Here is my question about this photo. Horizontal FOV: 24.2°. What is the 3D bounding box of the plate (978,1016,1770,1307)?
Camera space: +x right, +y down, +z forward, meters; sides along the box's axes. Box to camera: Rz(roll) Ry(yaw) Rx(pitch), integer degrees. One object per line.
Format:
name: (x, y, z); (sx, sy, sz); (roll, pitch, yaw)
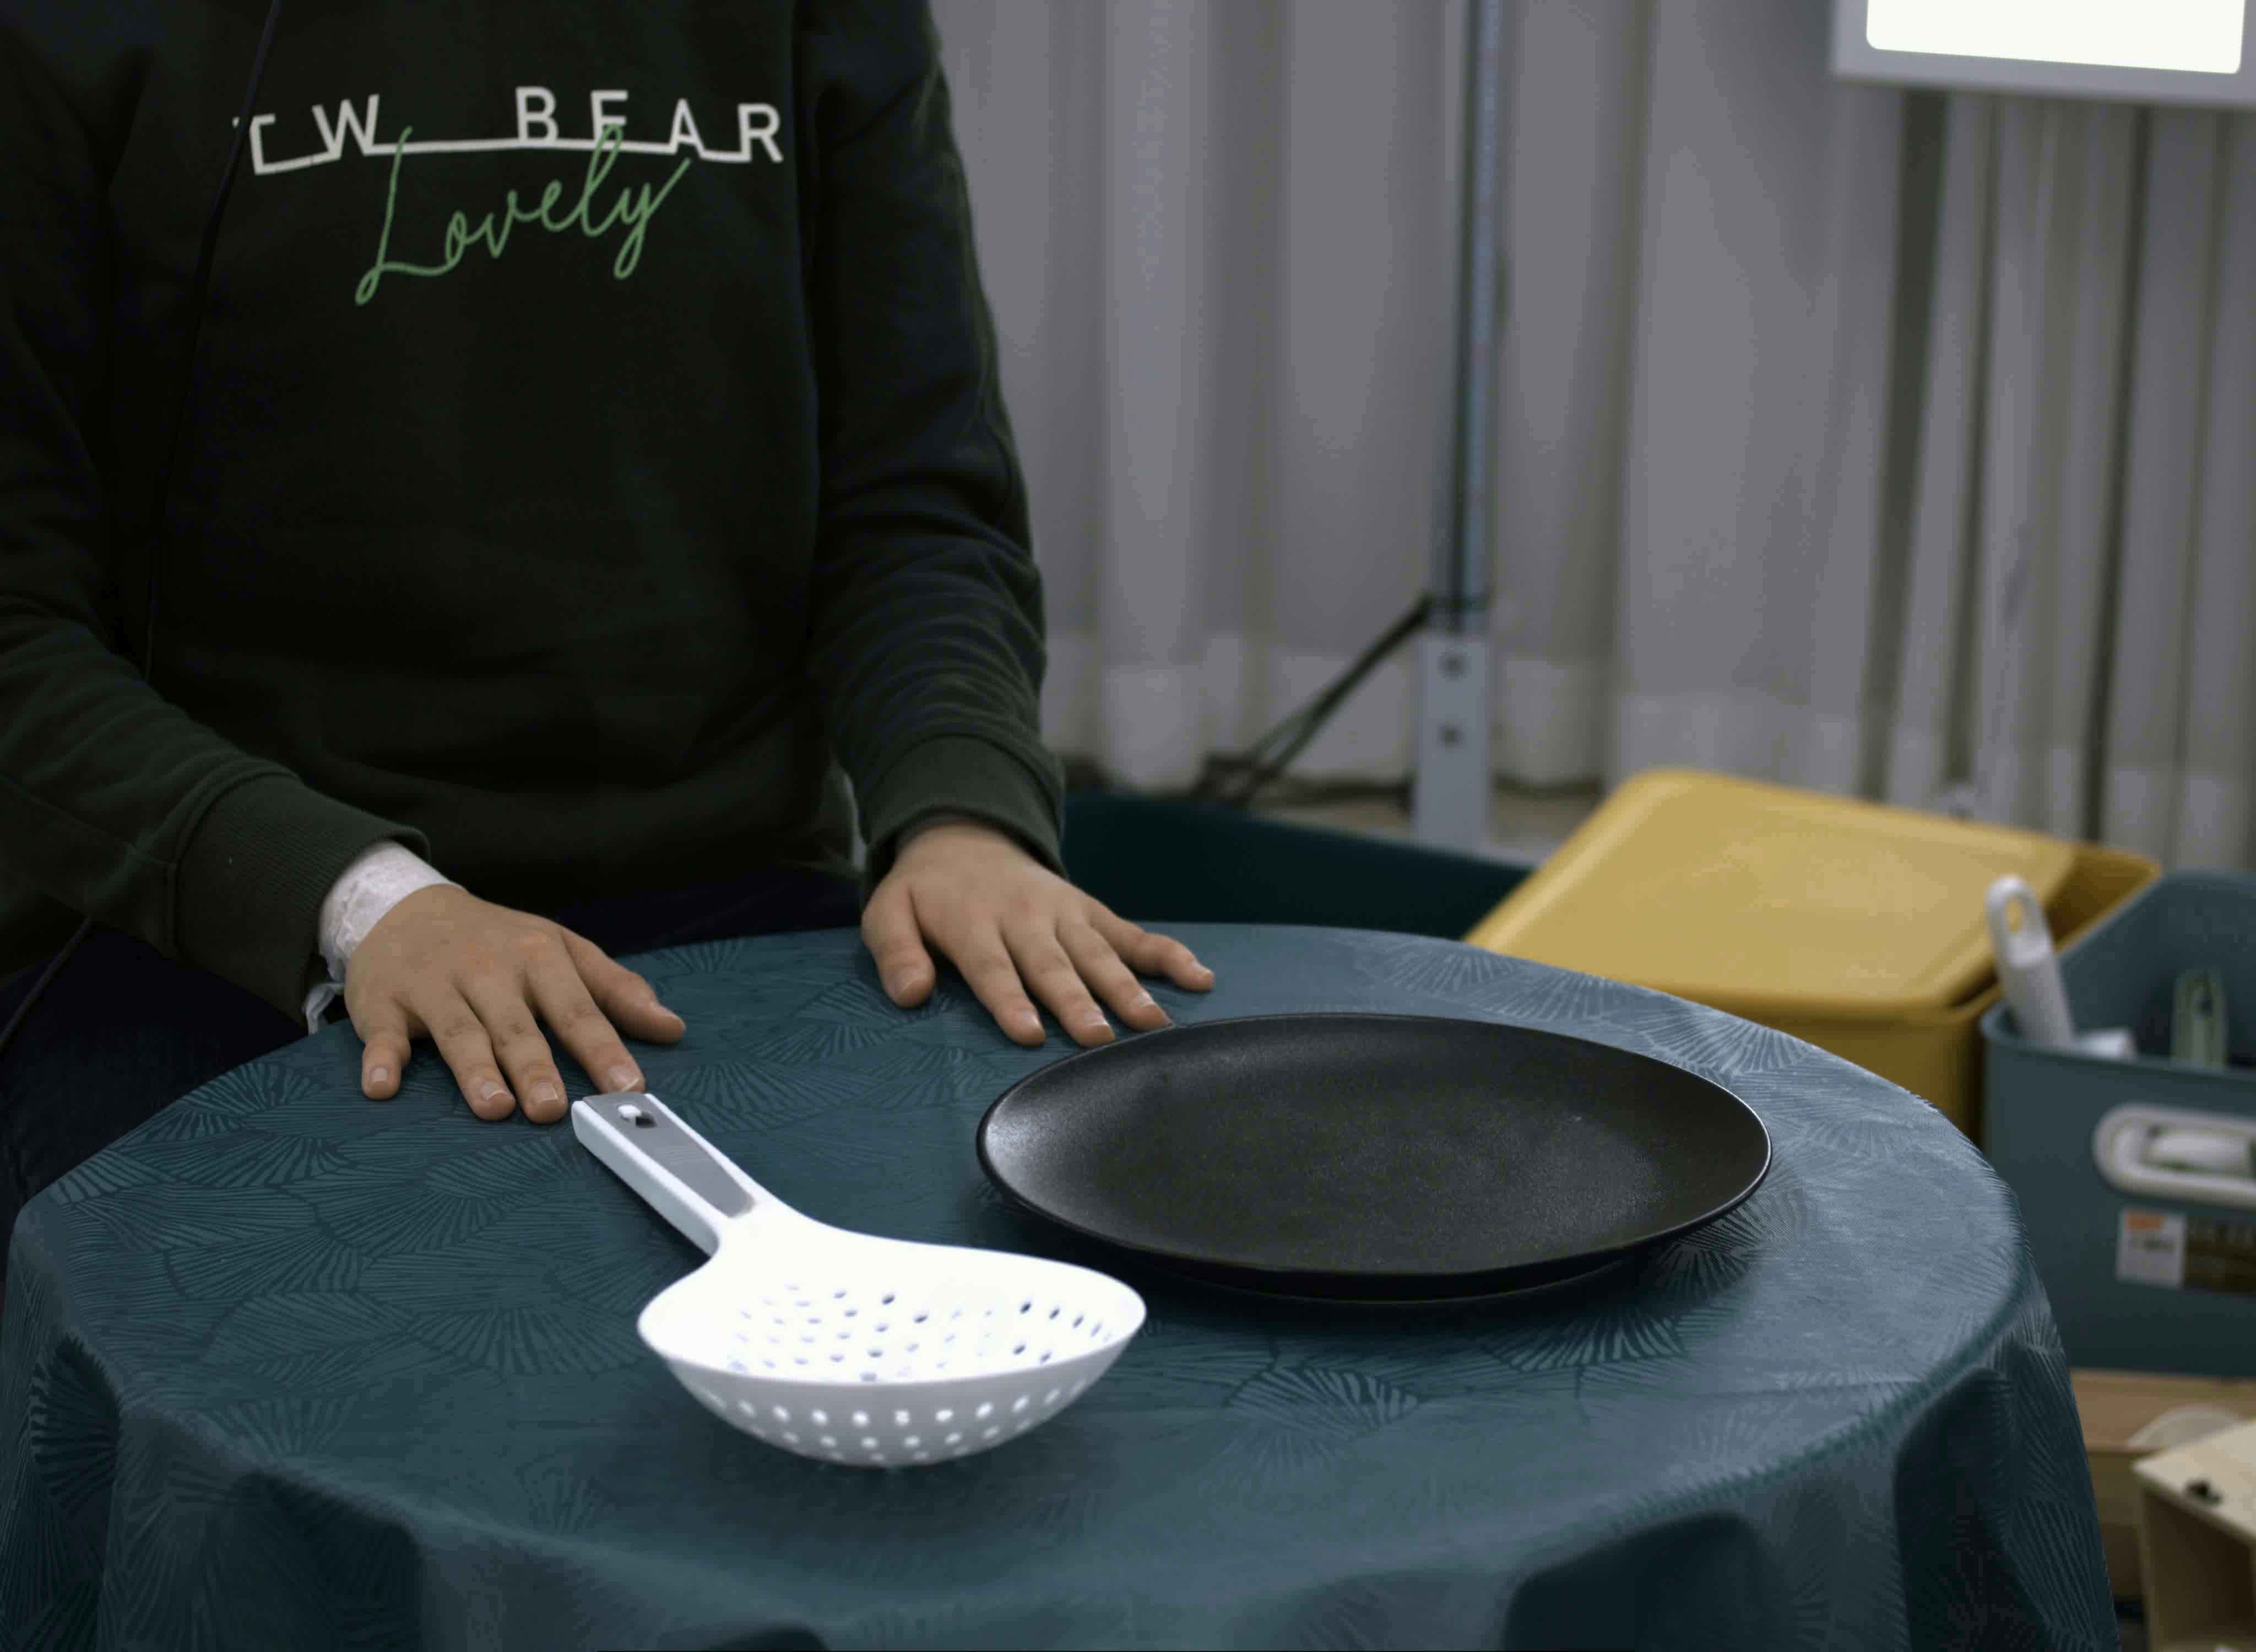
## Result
plate: (0.075, 0.104, 1.616); (0.243, 0.023, 0.243); (1, 16, 0)

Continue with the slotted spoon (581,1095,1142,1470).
slotted spoon: (-0.102, 0.121, 1.509); (0.136, 0.046, 0.346); (-3, 15, -21)
